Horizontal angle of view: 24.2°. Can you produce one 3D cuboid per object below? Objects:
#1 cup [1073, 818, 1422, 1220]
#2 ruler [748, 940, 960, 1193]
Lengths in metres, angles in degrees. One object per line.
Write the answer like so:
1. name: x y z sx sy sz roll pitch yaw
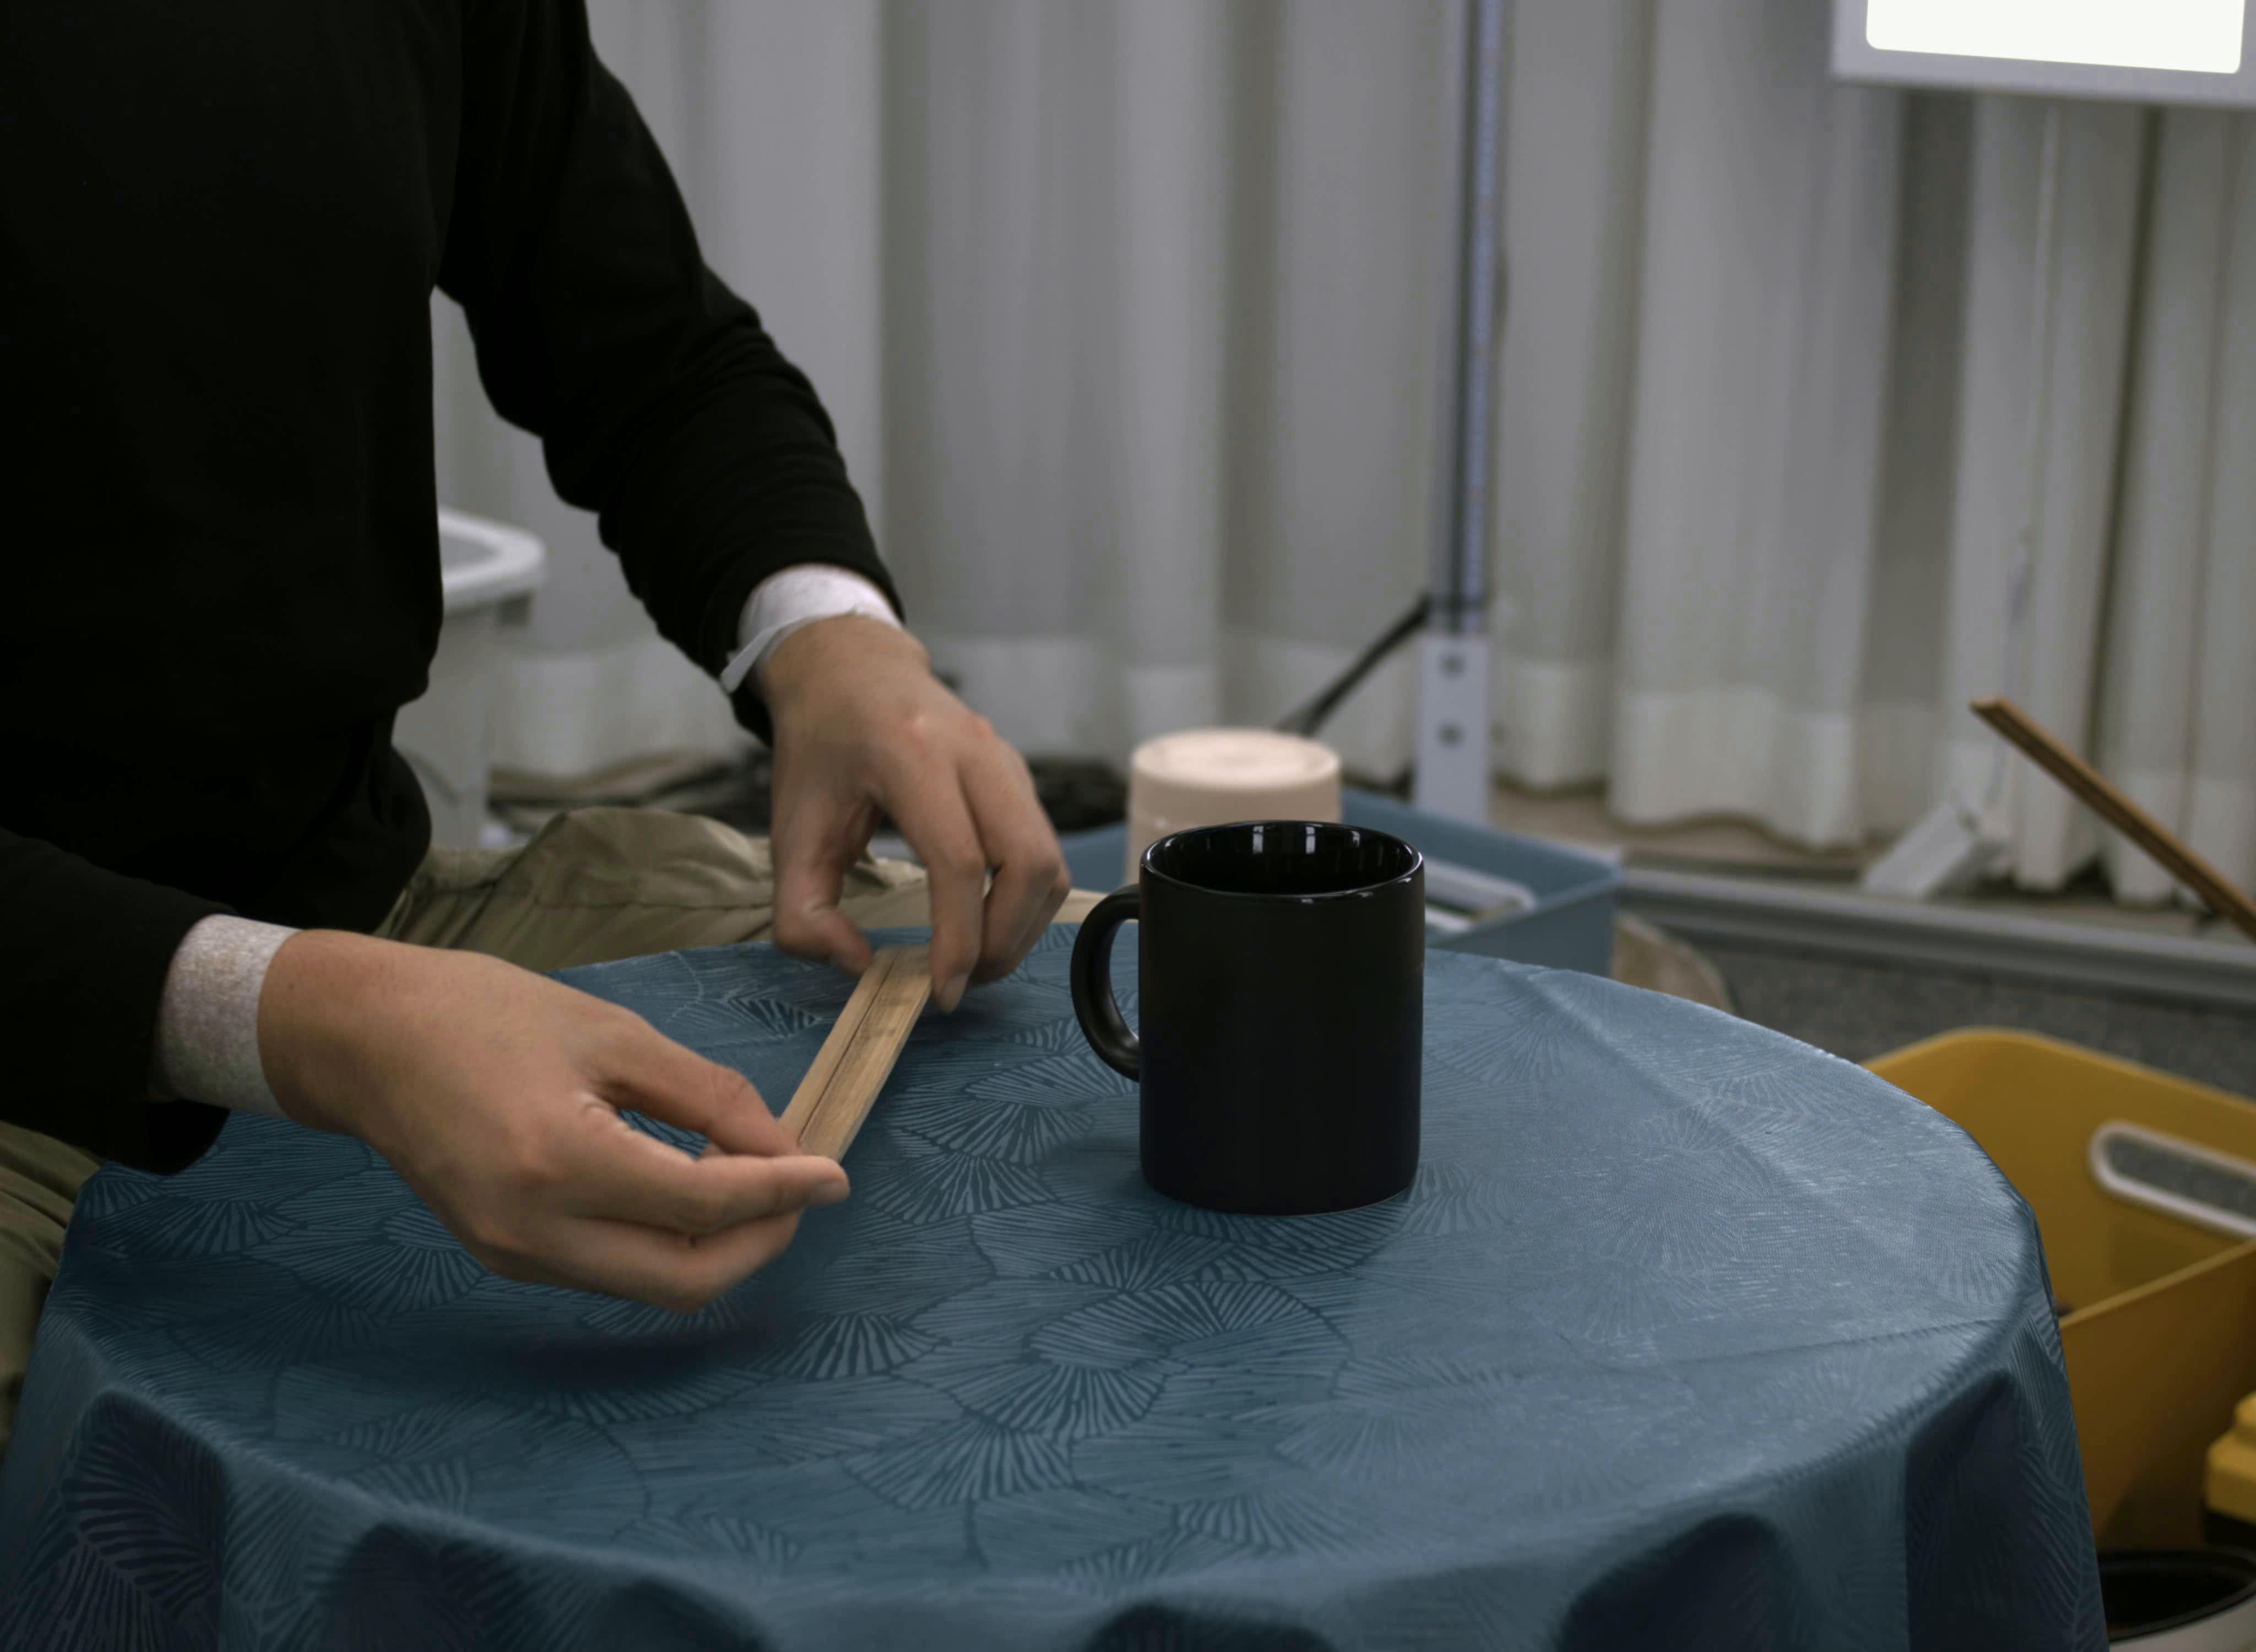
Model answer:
1. cup: 0.033 0.056 1.635 0.122 0.106 0.089 12 21 37
2. ruler: -0.083 0.070 1.641 0.027 0.022 0.331 2 10 4
